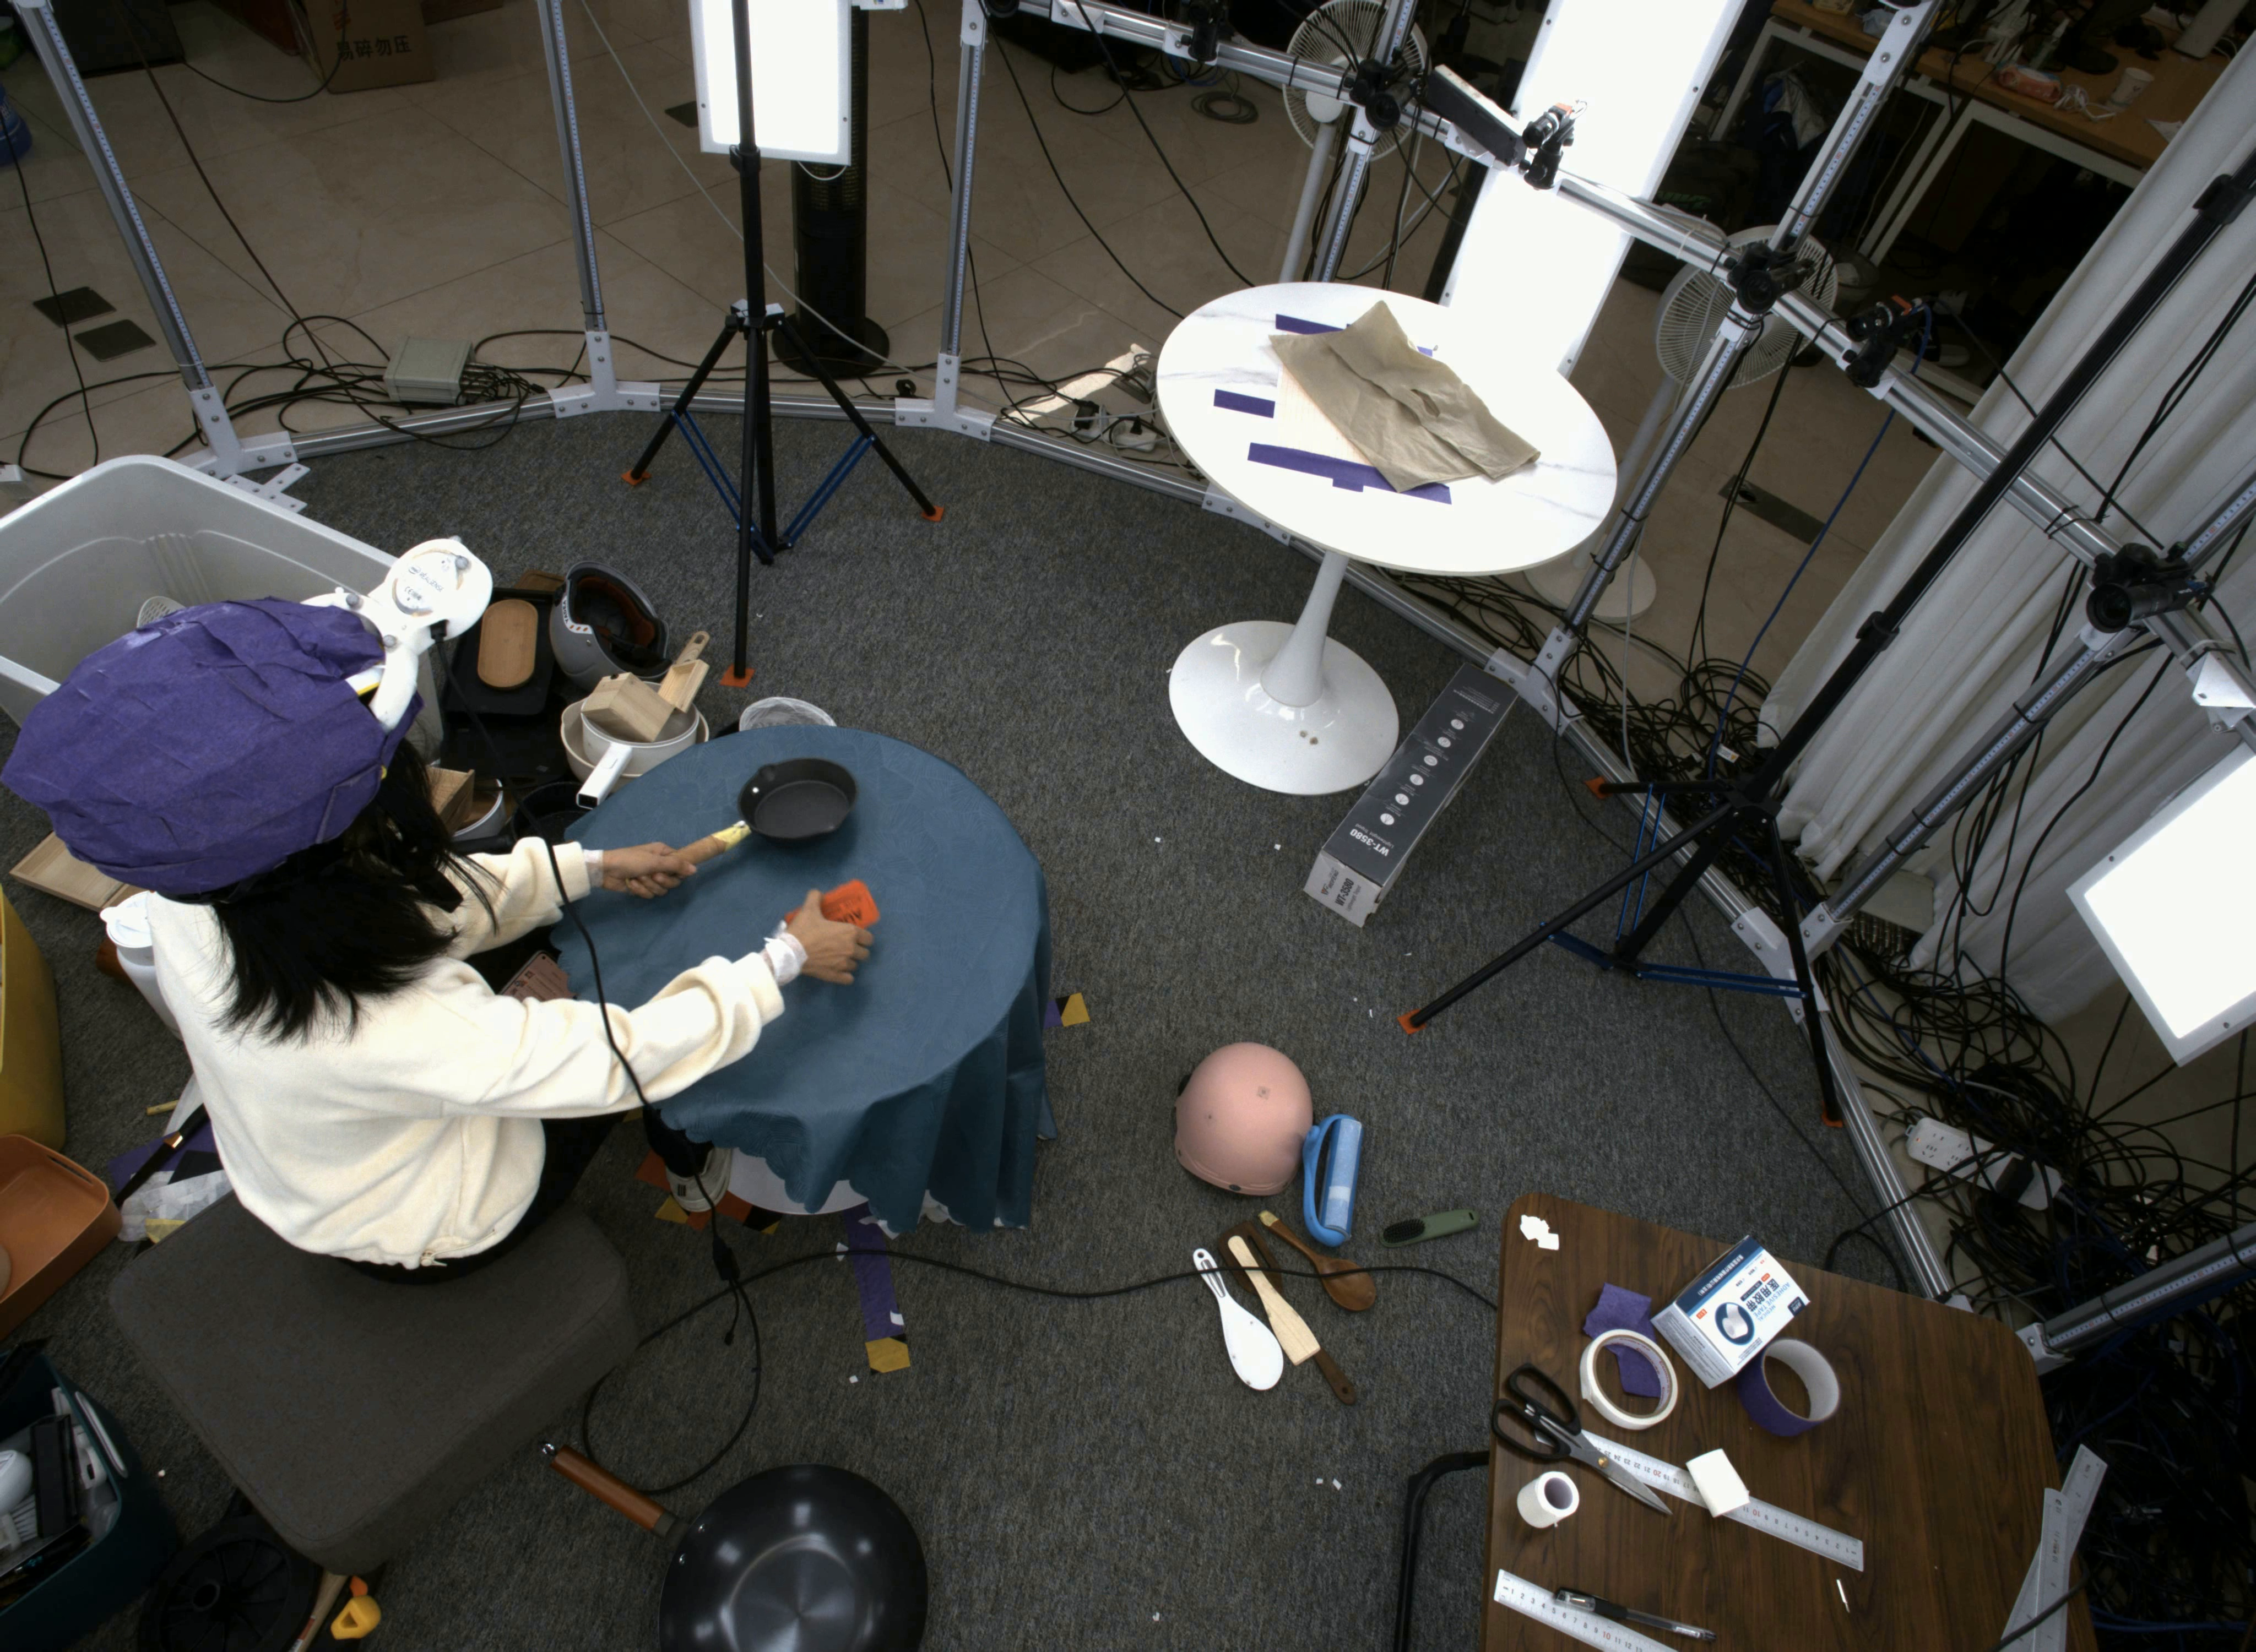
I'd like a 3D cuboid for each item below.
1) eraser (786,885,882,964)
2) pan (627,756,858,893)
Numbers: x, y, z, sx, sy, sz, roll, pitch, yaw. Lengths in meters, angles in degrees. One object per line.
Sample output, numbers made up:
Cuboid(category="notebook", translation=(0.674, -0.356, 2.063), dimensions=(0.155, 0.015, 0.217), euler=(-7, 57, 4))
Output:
Cuboid(category="eraser", translation=(-0.359, 0.118, 1.585), dimensions=(0.108, 0.022, 0.060), euler=(-30, 104, -25))
Cuboid(category="pan", translation=(-0.493, 0.005, 1.653), dimensions=(0.325, 0.051, 0.163), euler=(-32, 57, -32))
